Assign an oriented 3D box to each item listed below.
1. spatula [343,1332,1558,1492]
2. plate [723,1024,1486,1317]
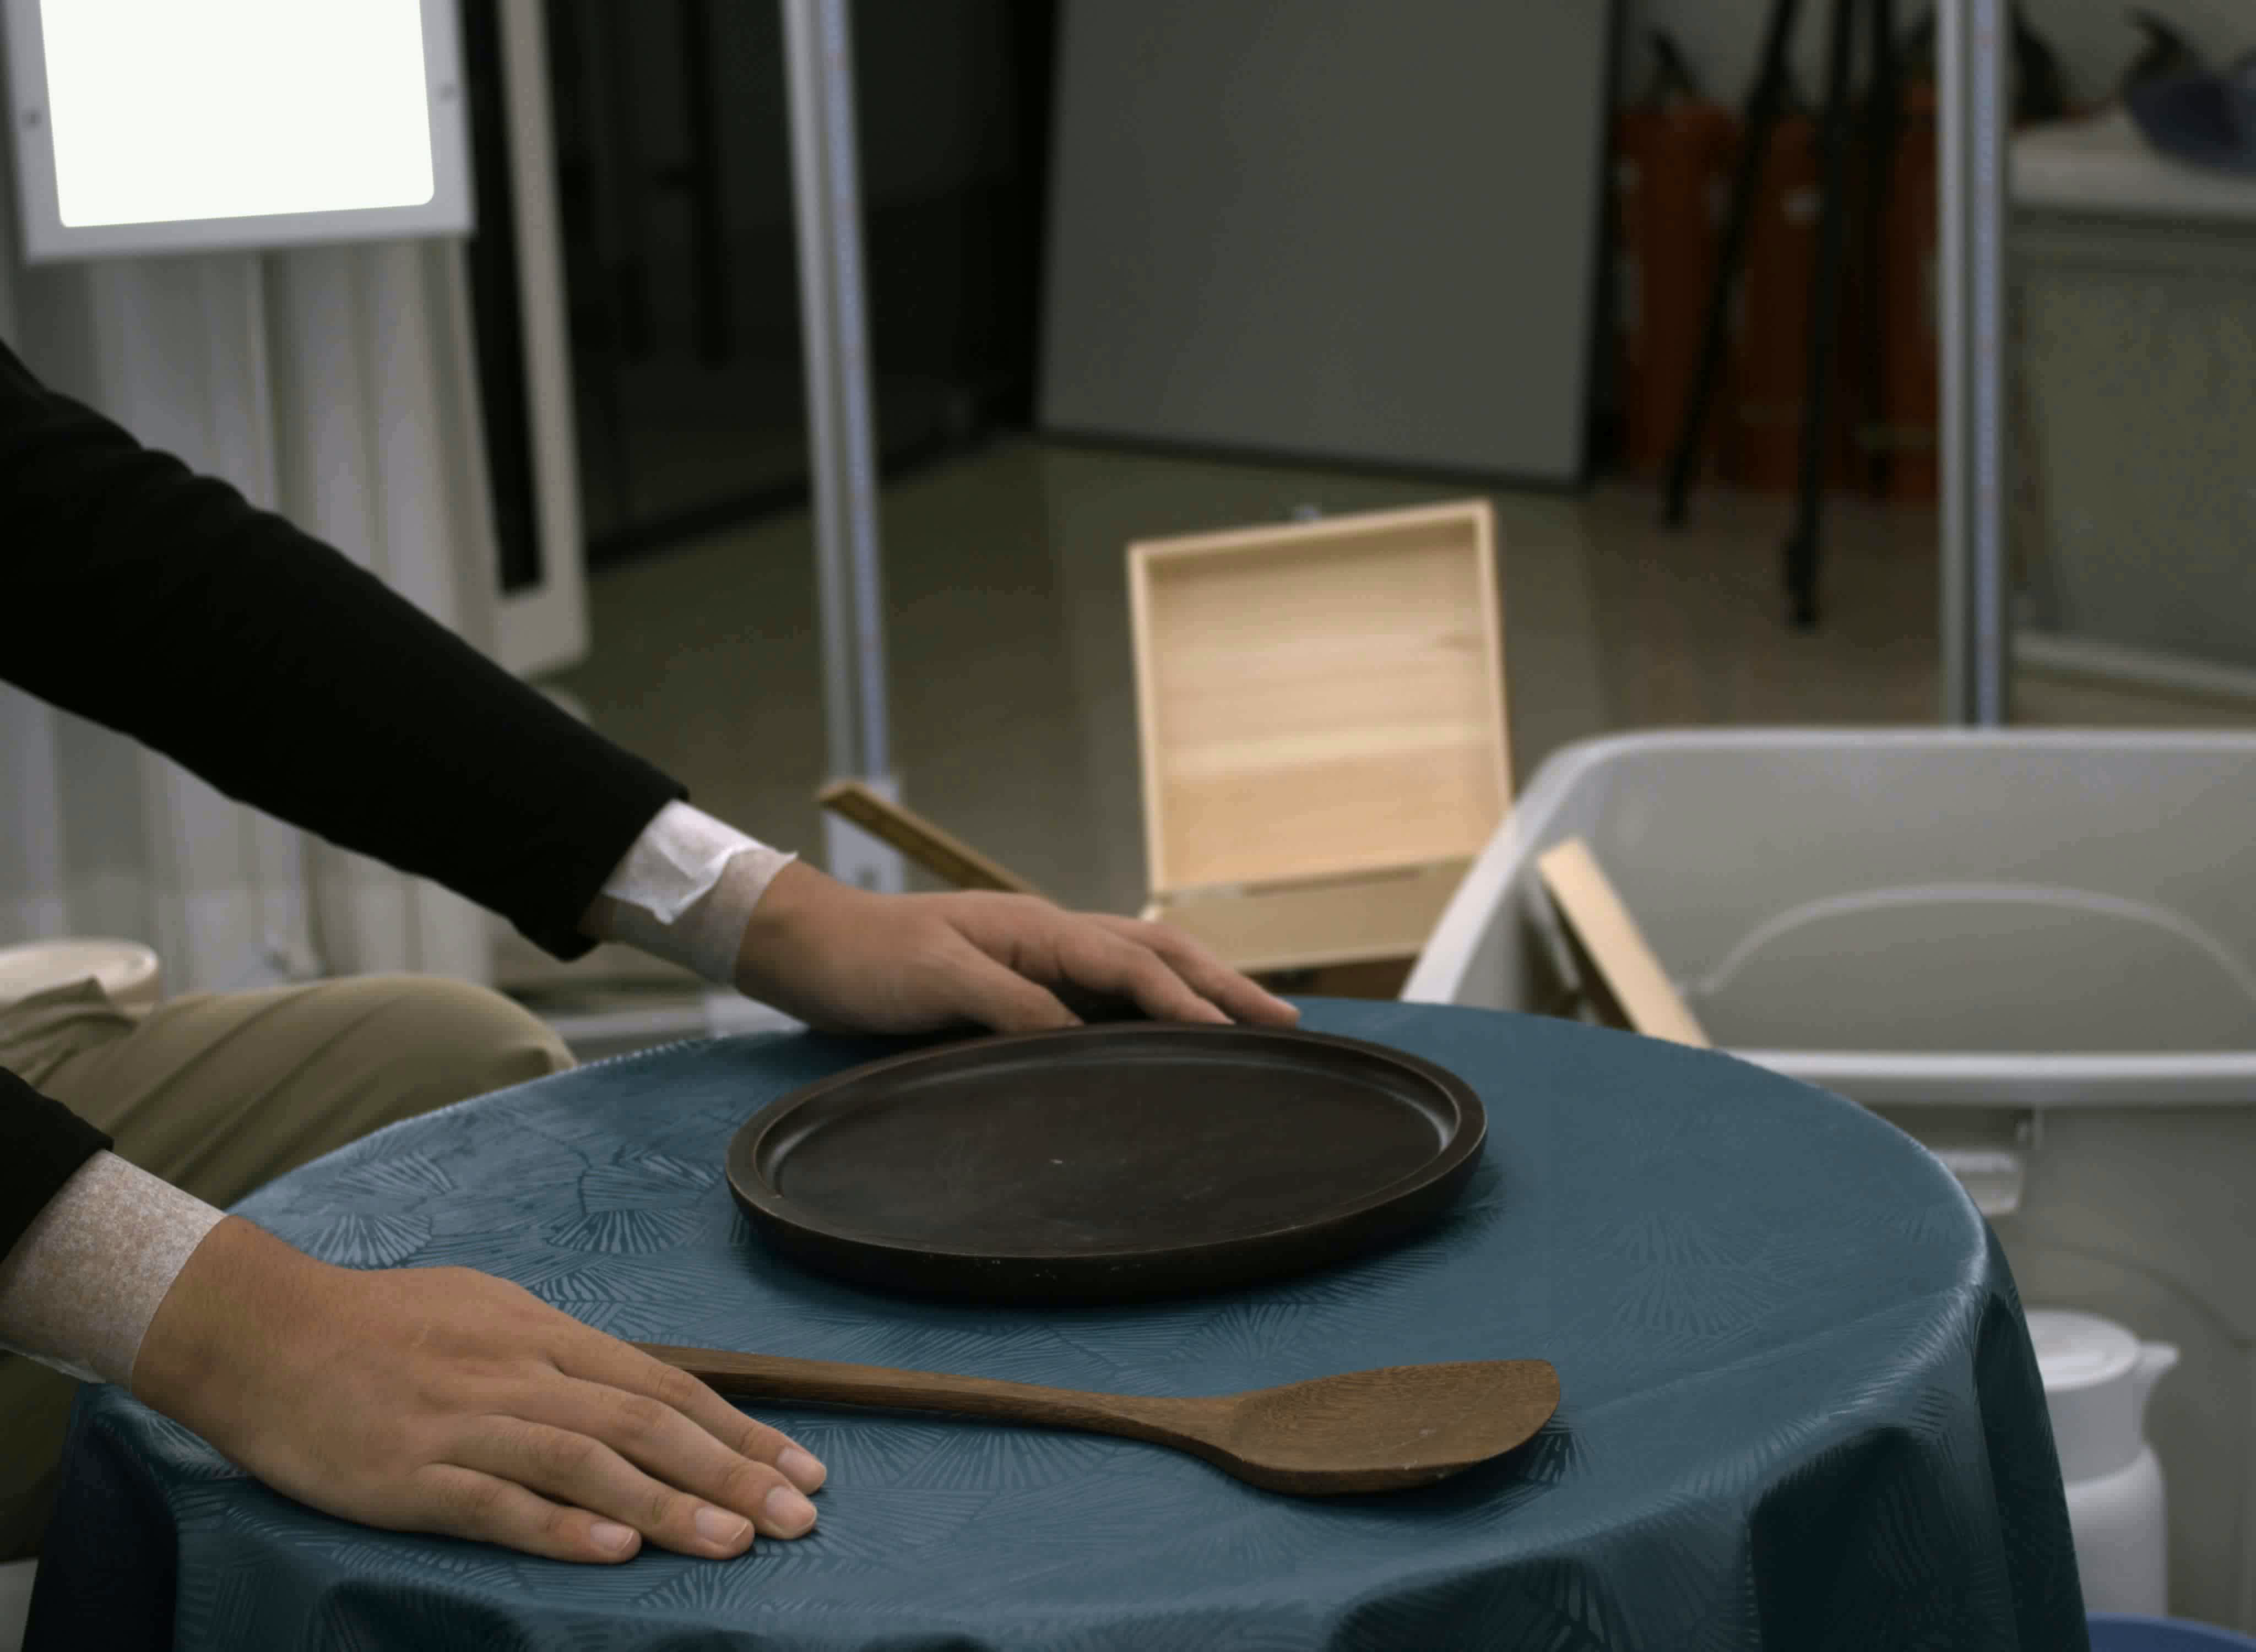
[{"bbox_3d":[-0.061,0.166,1.576,0.386,0.016,0.095,1,14,23],"label":"spatula"},{"bbox_3d":[-0.007,0.111,1.767,0.251,0.029,0.255,-4,15,0],"label":"plate"}]
